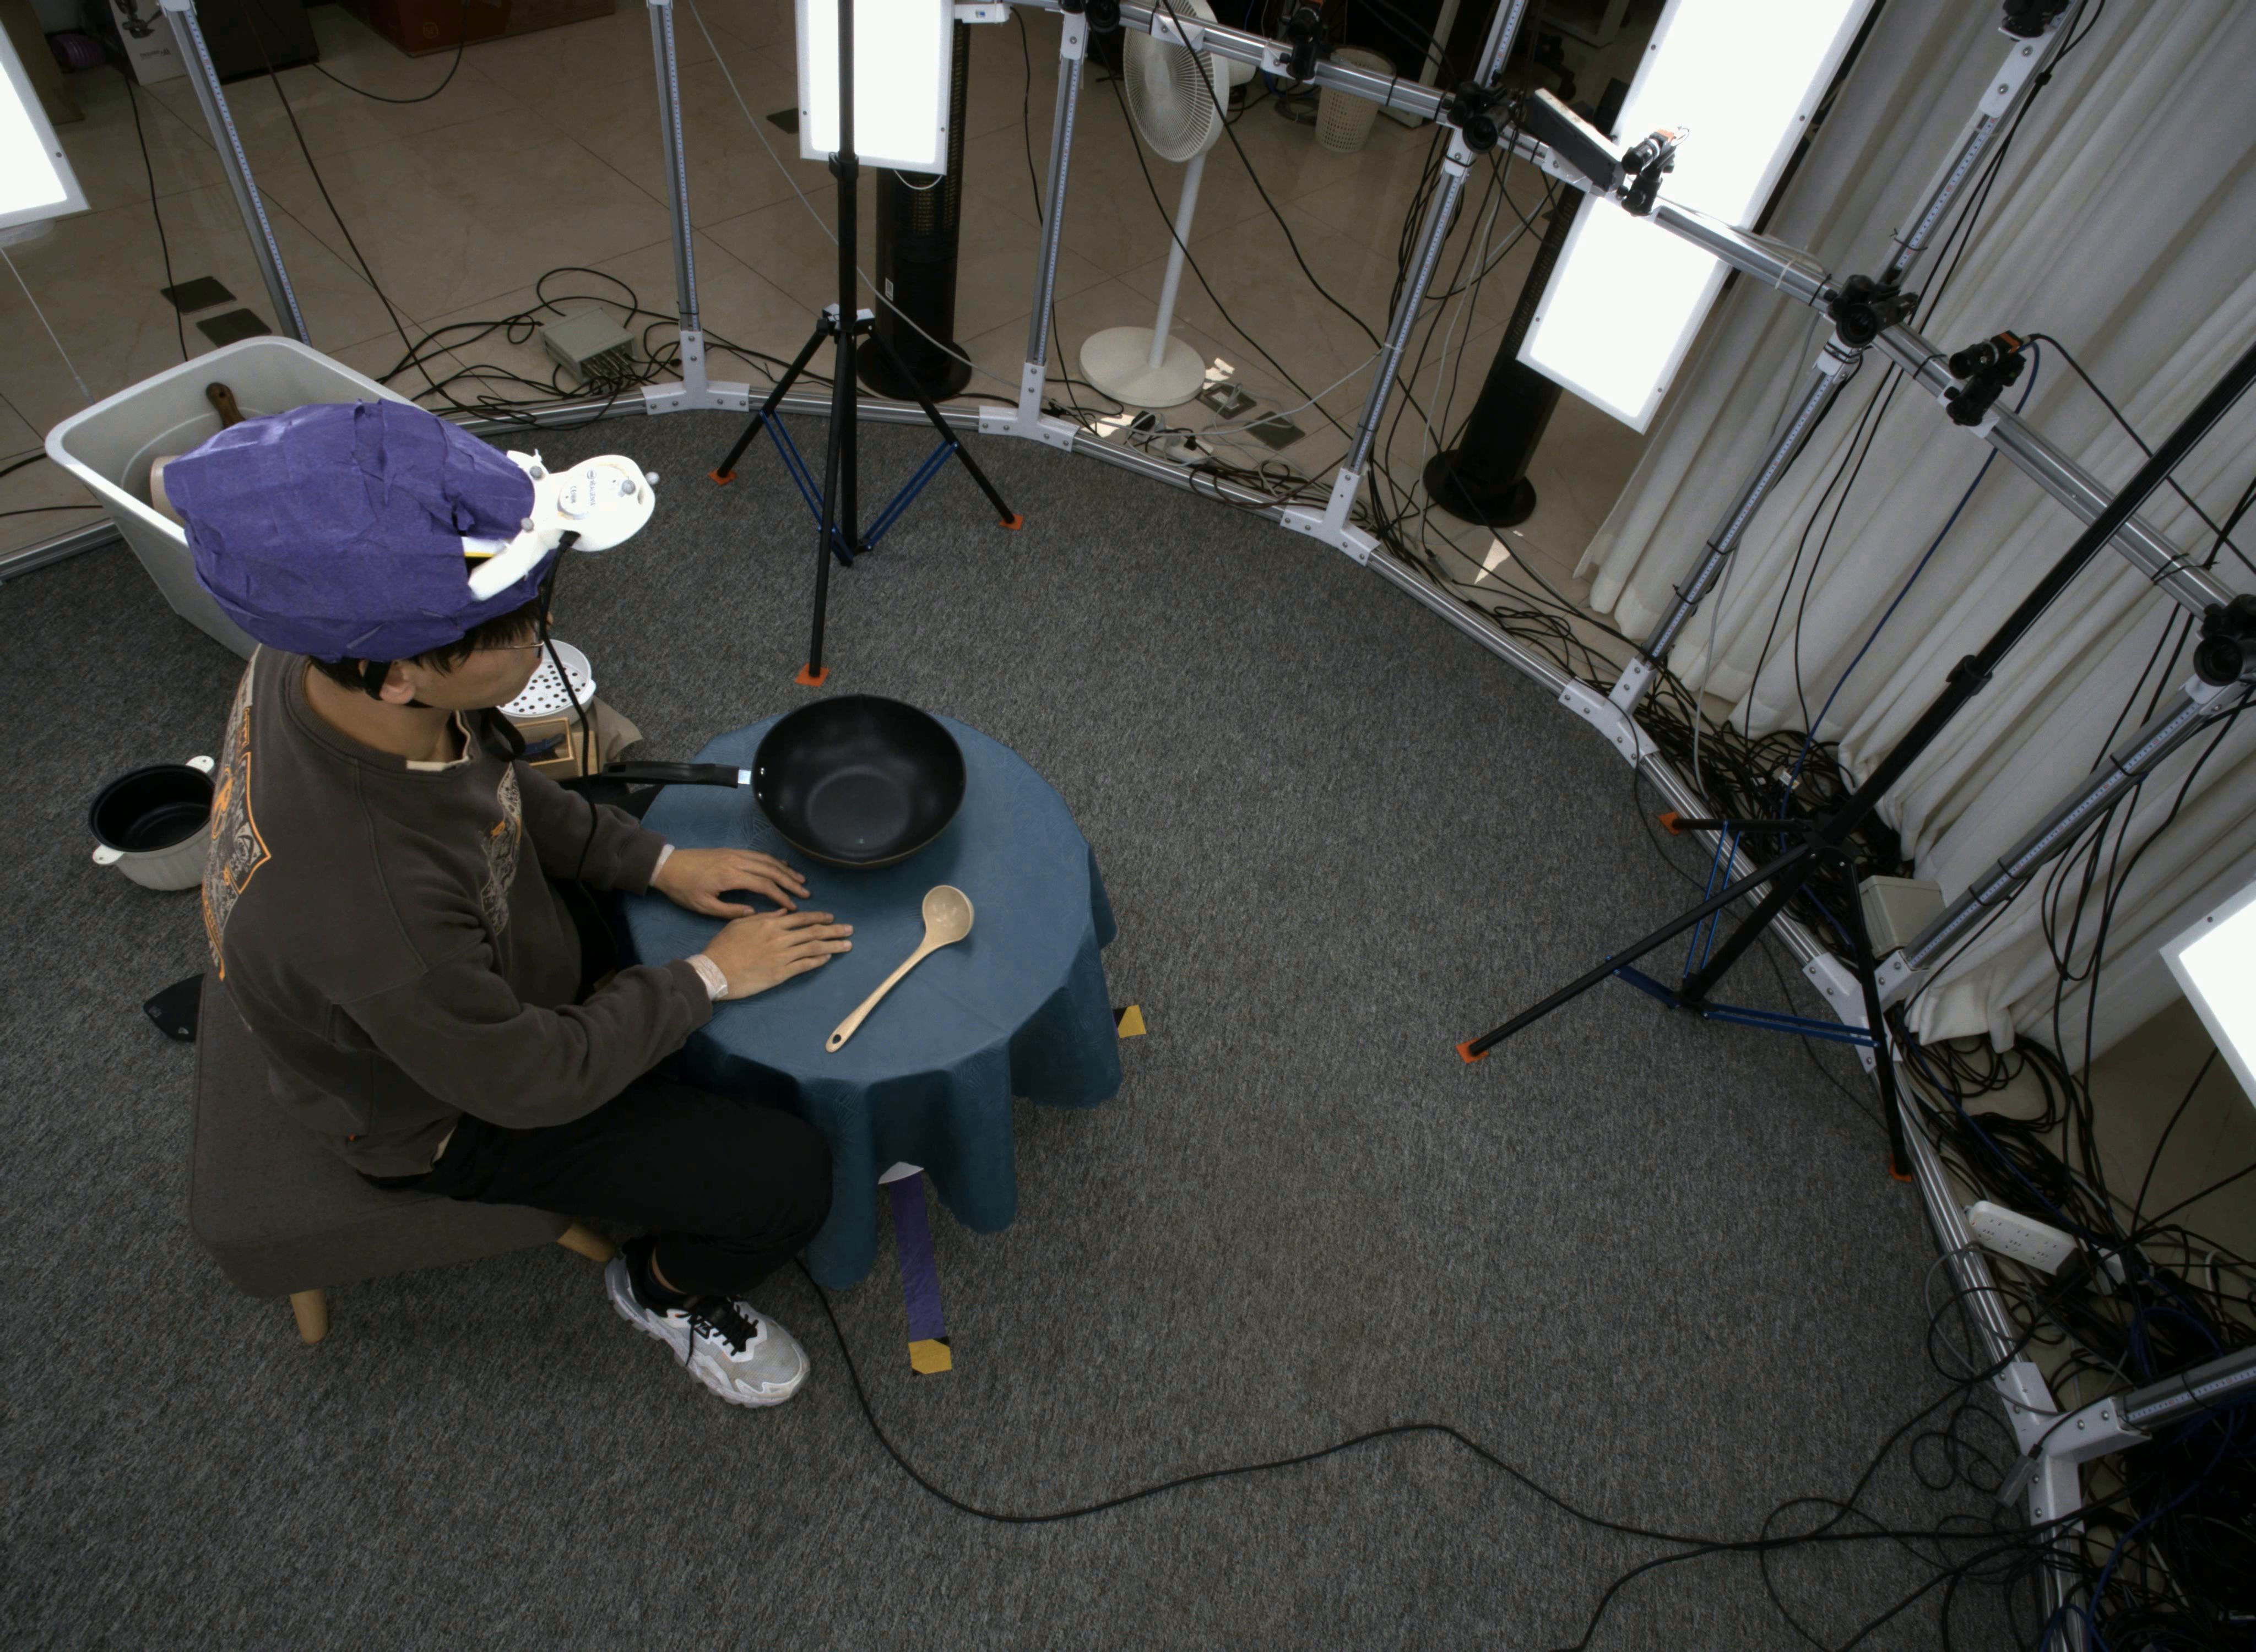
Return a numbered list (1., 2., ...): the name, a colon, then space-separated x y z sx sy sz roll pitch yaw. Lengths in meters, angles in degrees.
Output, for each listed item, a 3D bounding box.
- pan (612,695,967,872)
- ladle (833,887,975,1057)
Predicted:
1. pan: -0.444 -0.044 1.713 0.463 0.089 0.282 0 54 -12
2. ladle: -0.280 0.172 1.600 0.071 0.074 0.254 32 52 10
